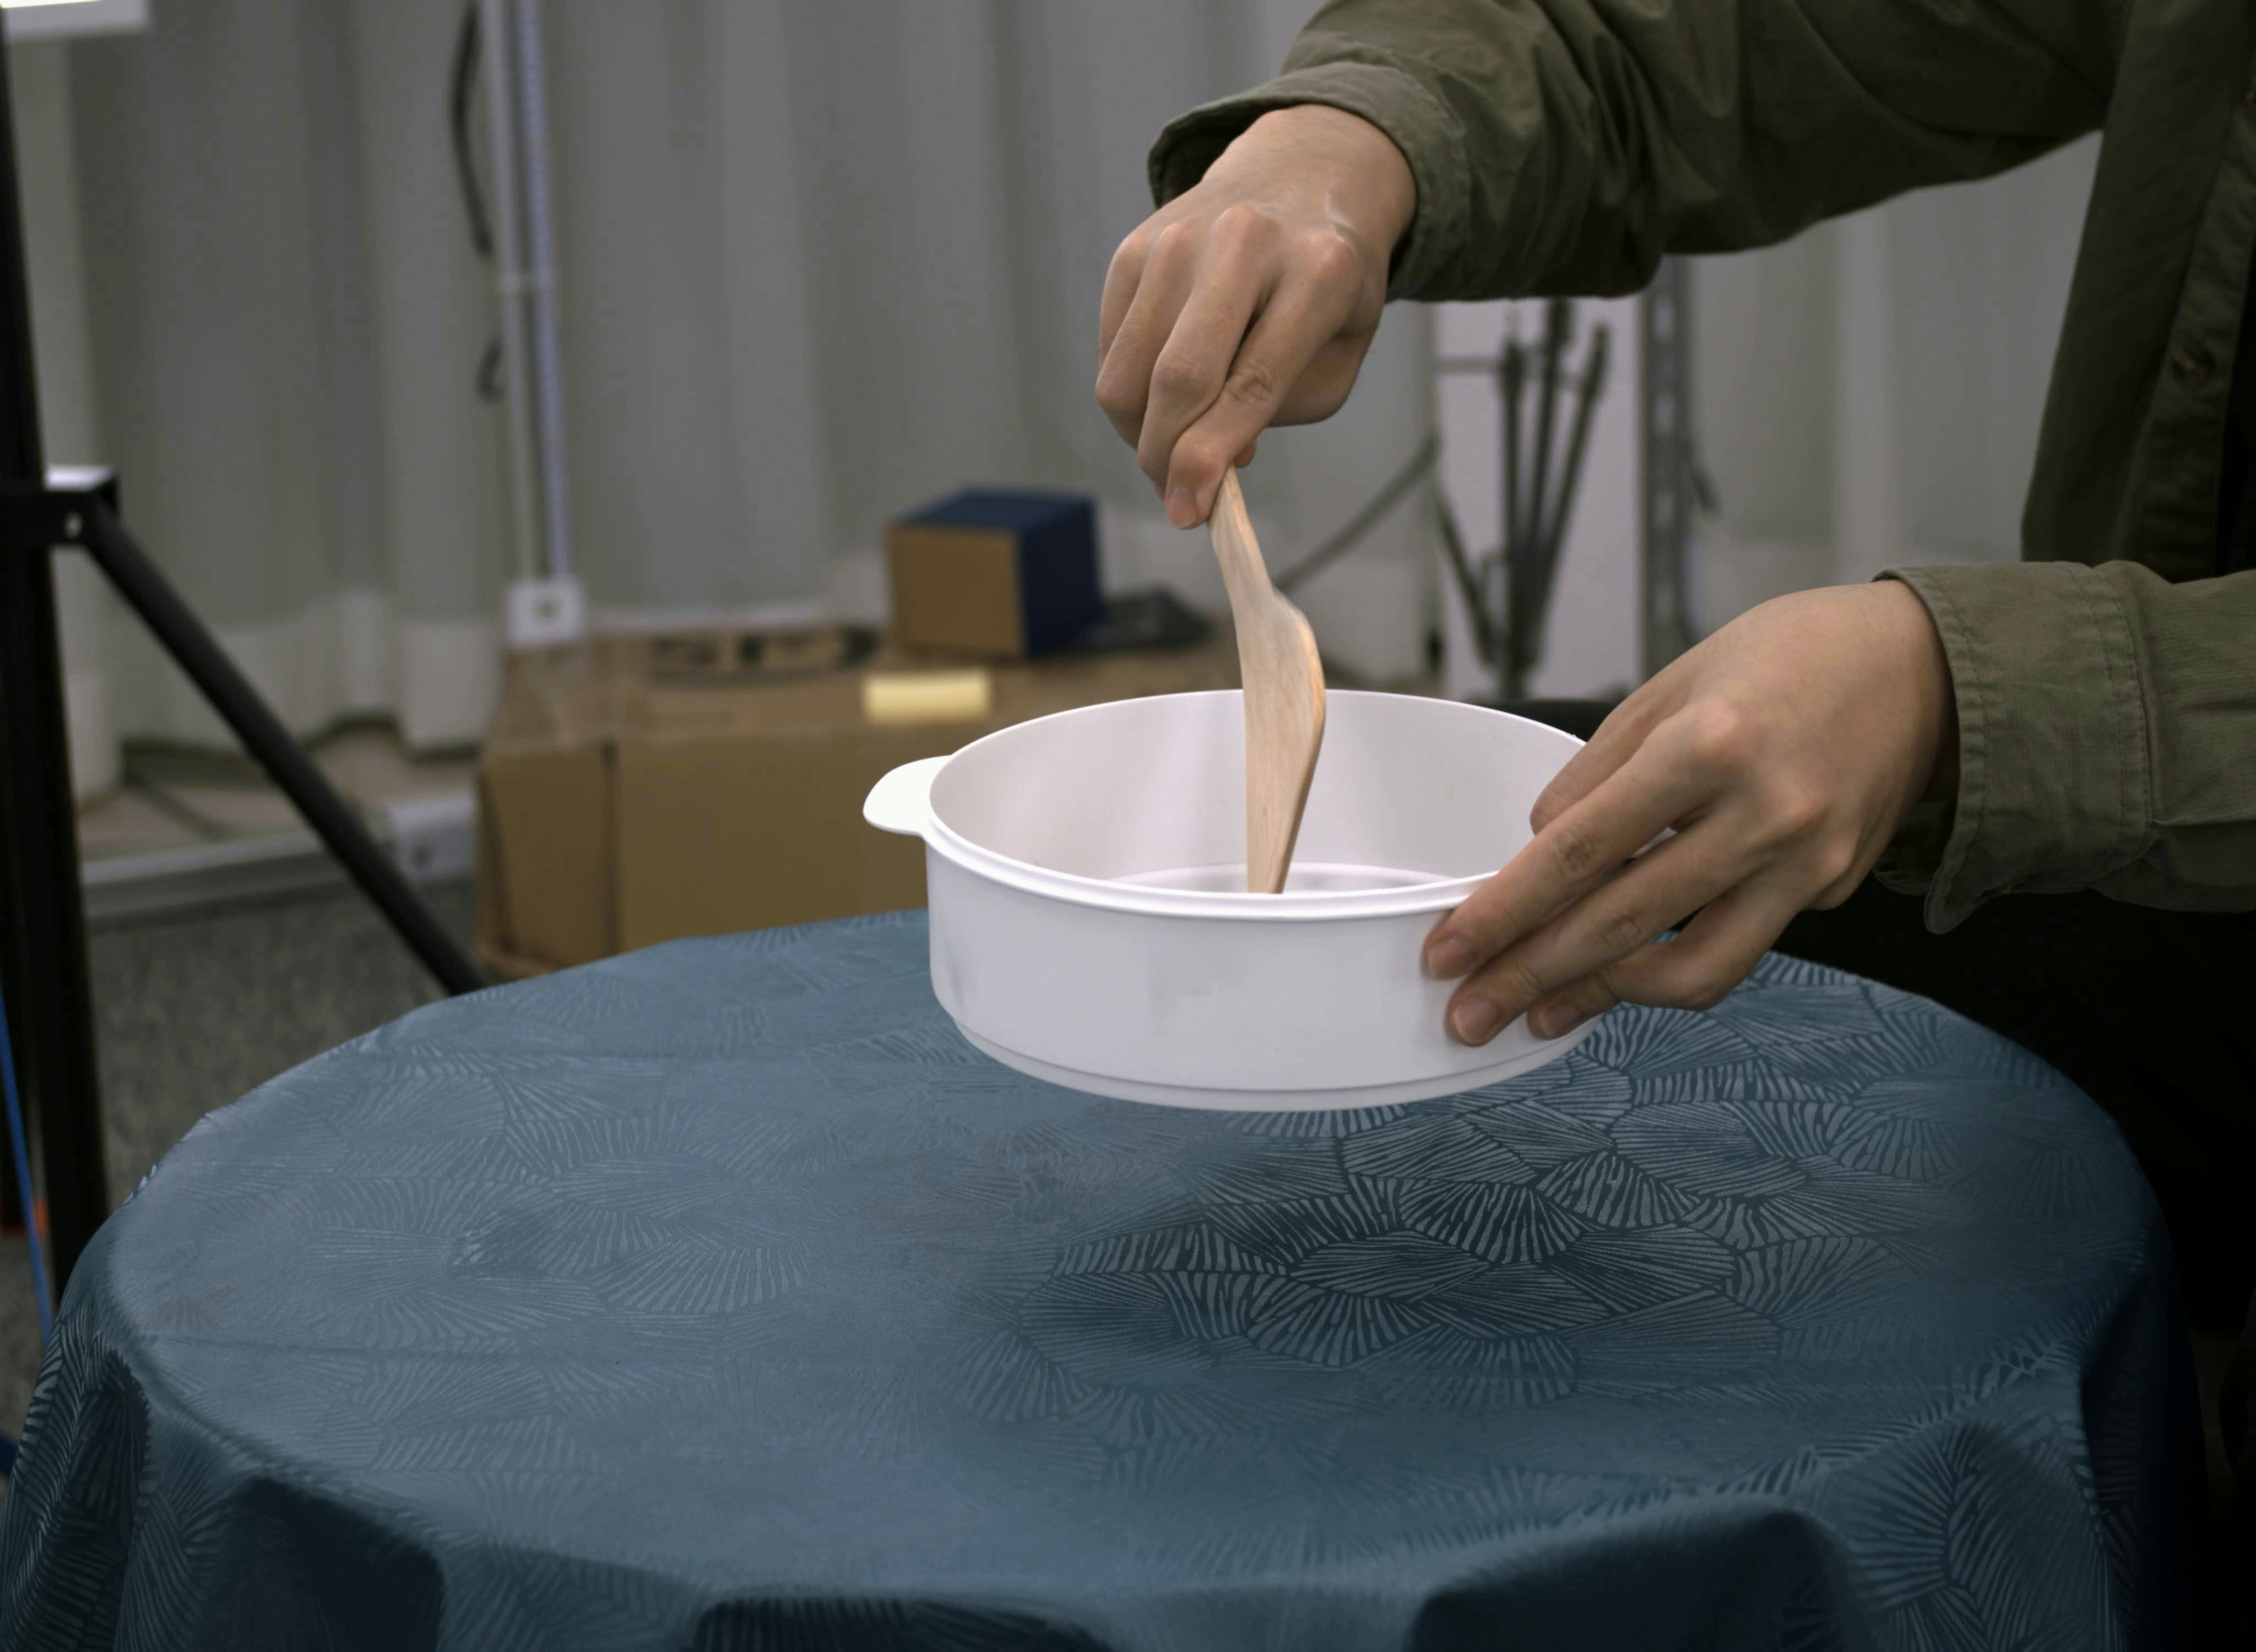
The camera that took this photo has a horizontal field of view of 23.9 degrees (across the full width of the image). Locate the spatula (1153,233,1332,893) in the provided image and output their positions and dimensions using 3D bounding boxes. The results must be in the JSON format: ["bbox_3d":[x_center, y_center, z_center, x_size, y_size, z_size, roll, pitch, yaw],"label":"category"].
[{"bbox_3d":[0.029,-0.087,1.540,0.016,0.080,0.332,7,33,-13],"label":"spatula"}]

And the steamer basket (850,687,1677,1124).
[{"bbox_3d":[0.037,0.022,1.485,0.231,0.069,0.201,3,18,10],"label":"steamer basket"}]
